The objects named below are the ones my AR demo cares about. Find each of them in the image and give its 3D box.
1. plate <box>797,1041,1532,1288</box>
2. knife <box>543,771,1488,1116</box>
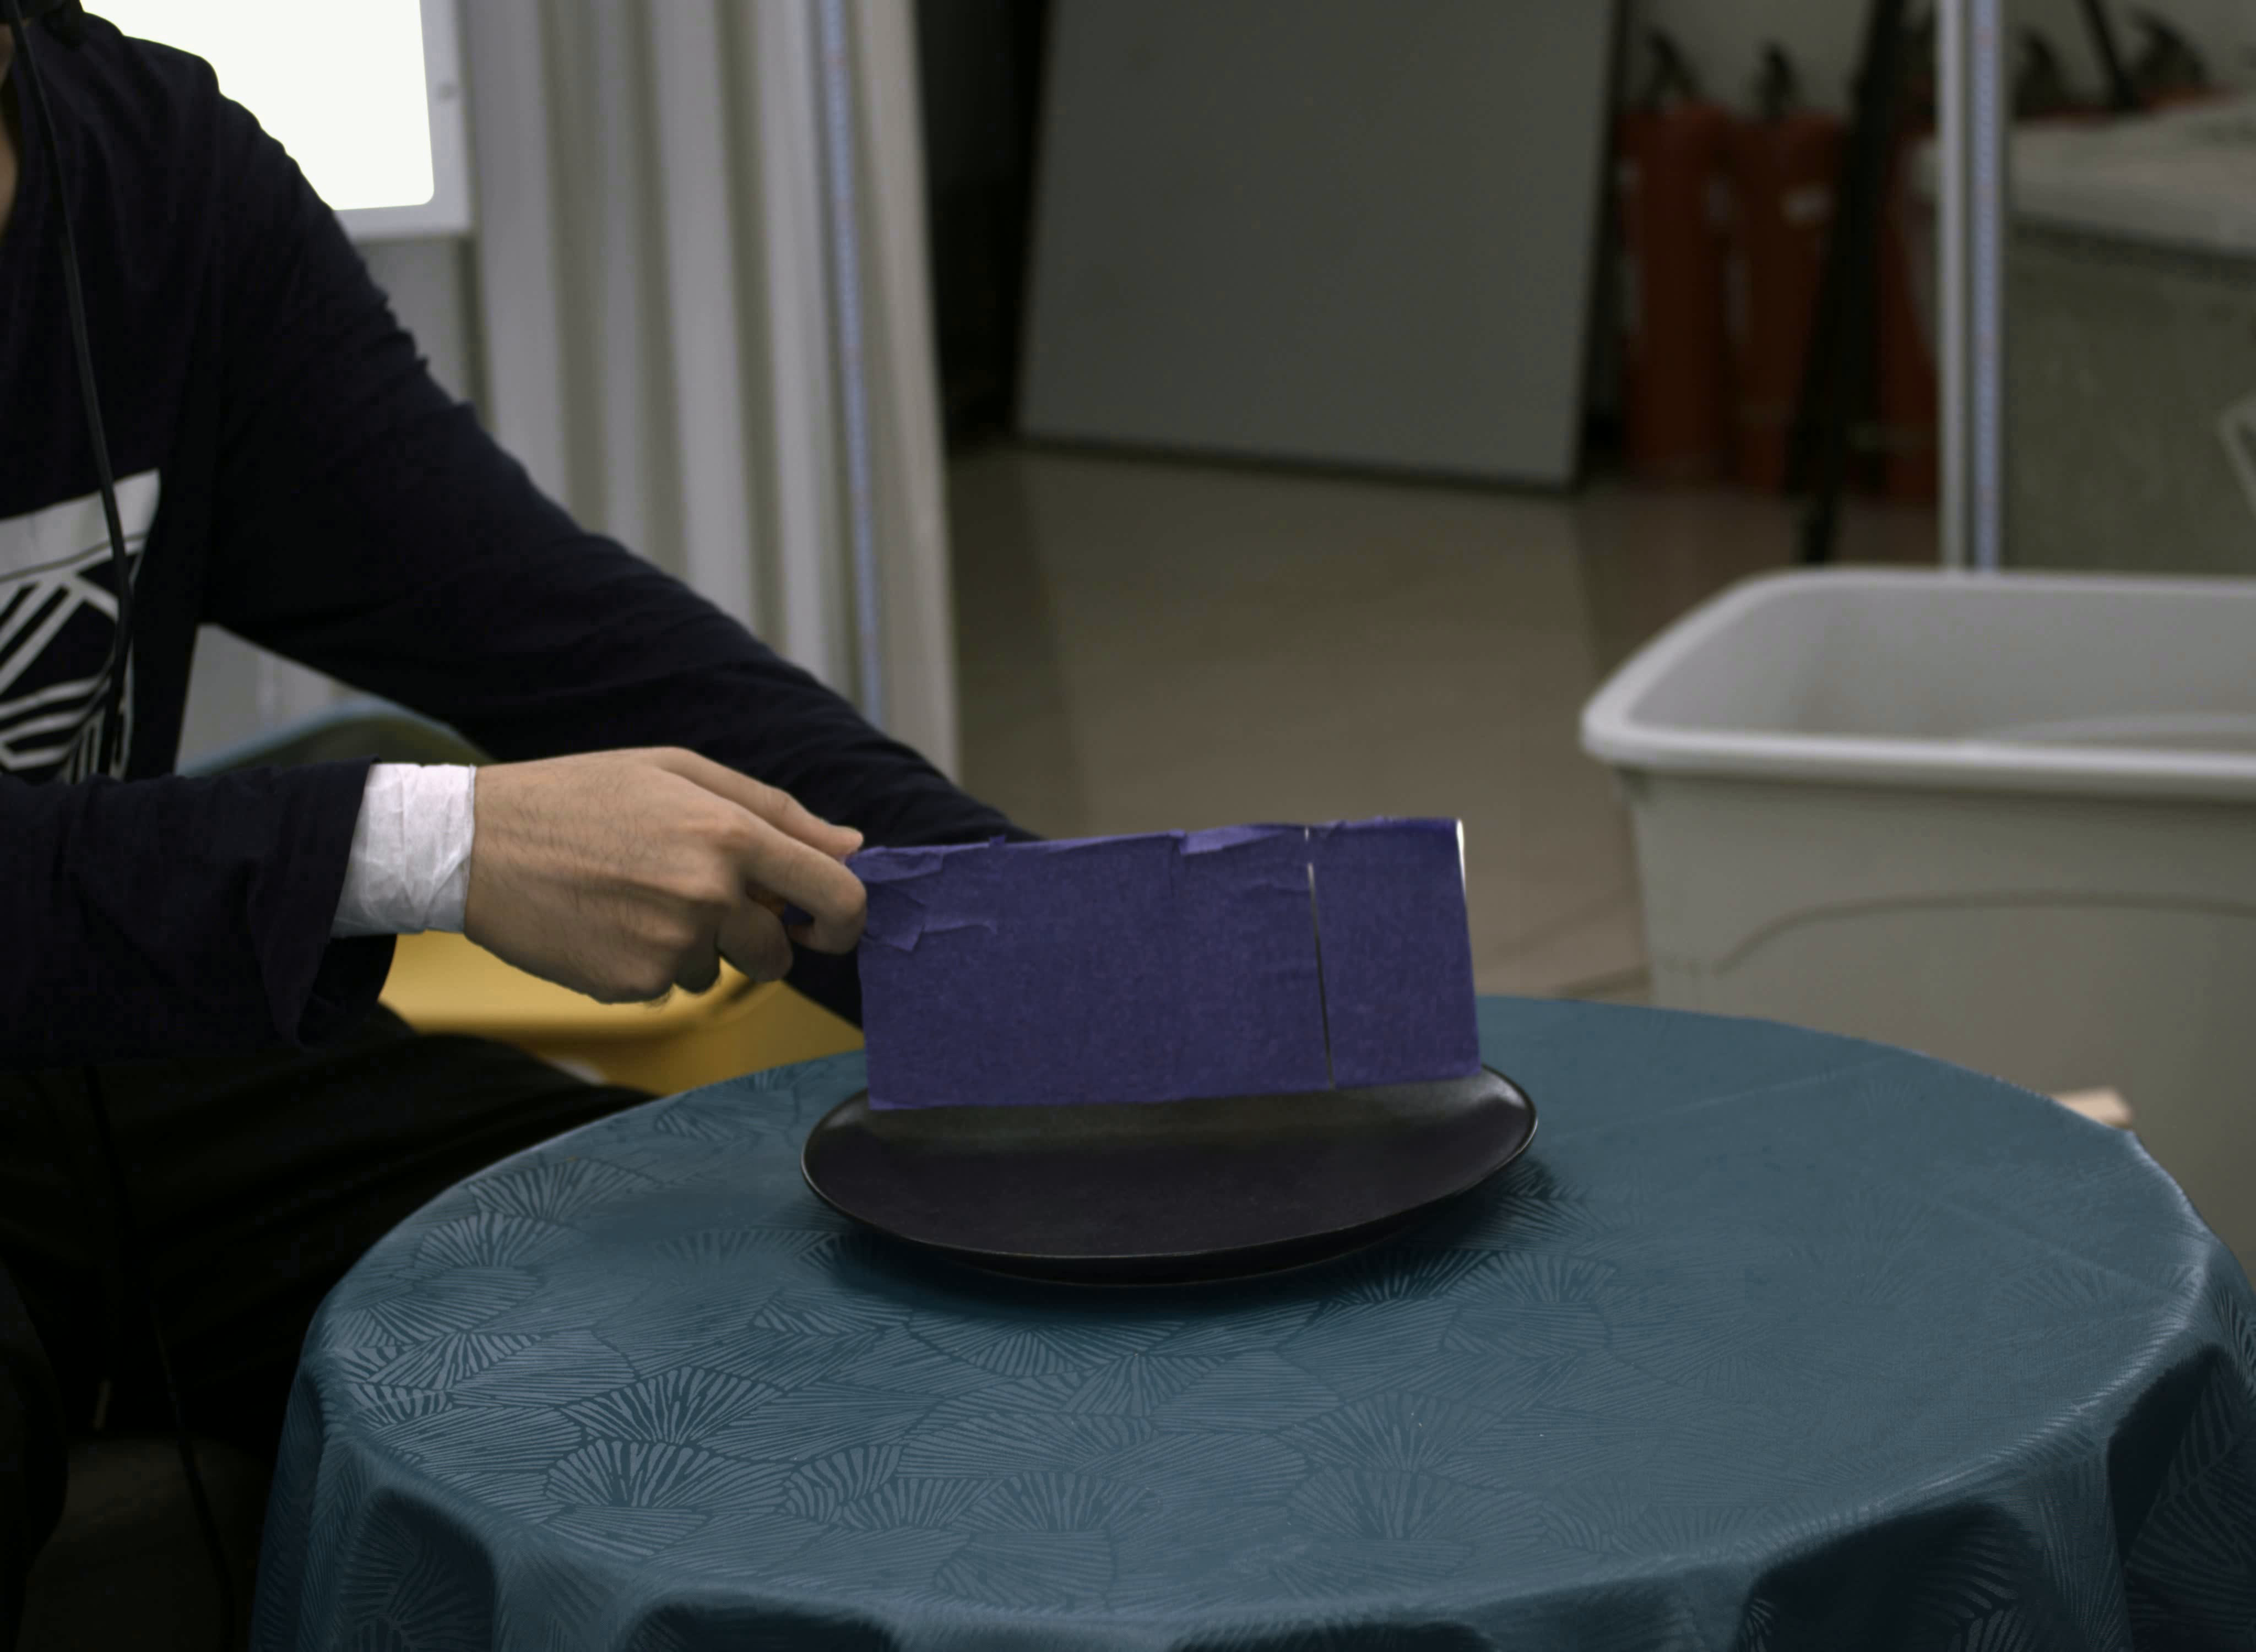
[{"bbox_3d":[0.013,0.111,1.761,0.241,0.024,0.245,-4,14,0],"label":"plate"},{"bbox_3d":[-0.037,0.047,1.795,0.312,0.105,0.032,-5,4,7],"label":"knife"}]
